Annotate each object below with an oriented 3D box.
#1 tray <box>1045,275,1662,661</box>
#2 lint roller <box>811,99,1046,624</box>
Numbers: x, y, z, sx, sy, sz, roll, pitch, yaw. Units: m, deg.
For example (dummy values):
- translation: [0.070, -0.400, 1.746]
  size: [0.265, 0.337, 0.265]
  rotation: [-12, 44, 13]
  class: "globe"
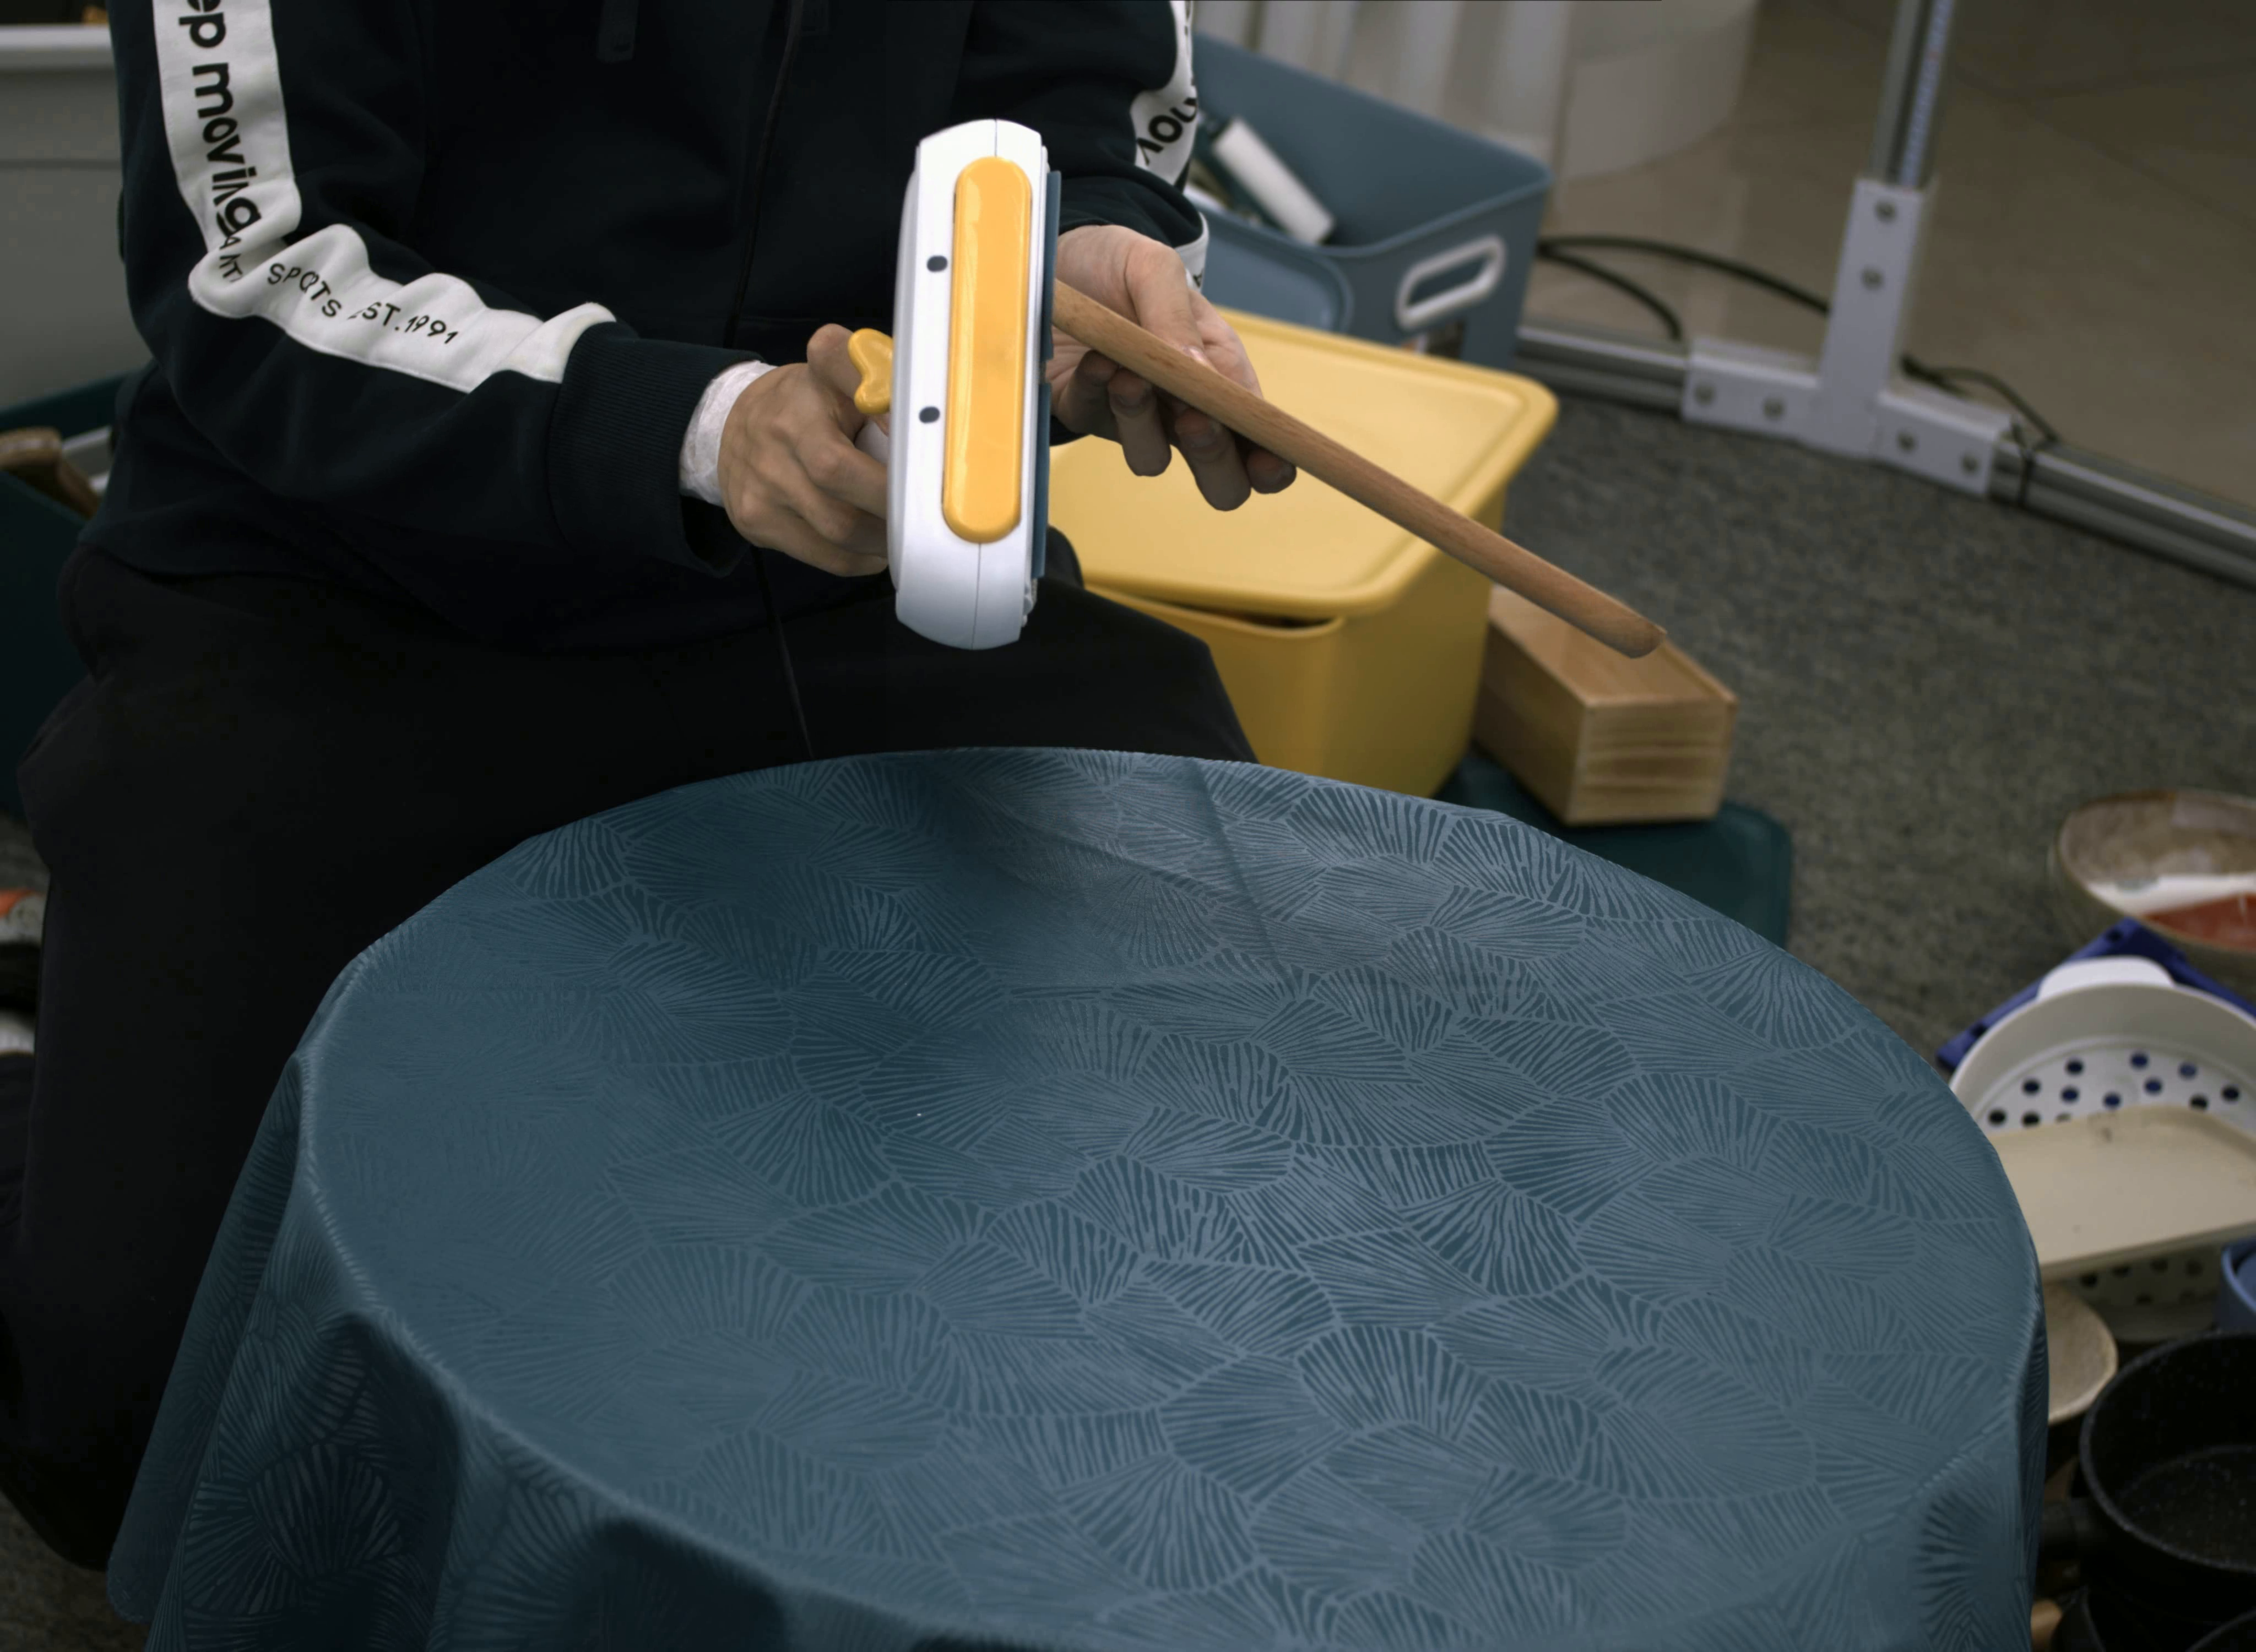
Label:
- translation: [0.079, -0.127, 1.914]
  size: [0.250, 0.023, 0.130]
  rotation: [30, 1, 1]
  class: "tray"
- translation: [-0.074, -0.143, 1.938]
  size: [0.074, 0.192, 0.194]
  rotation: [0, 68, -12]
  class: "lint roller"
